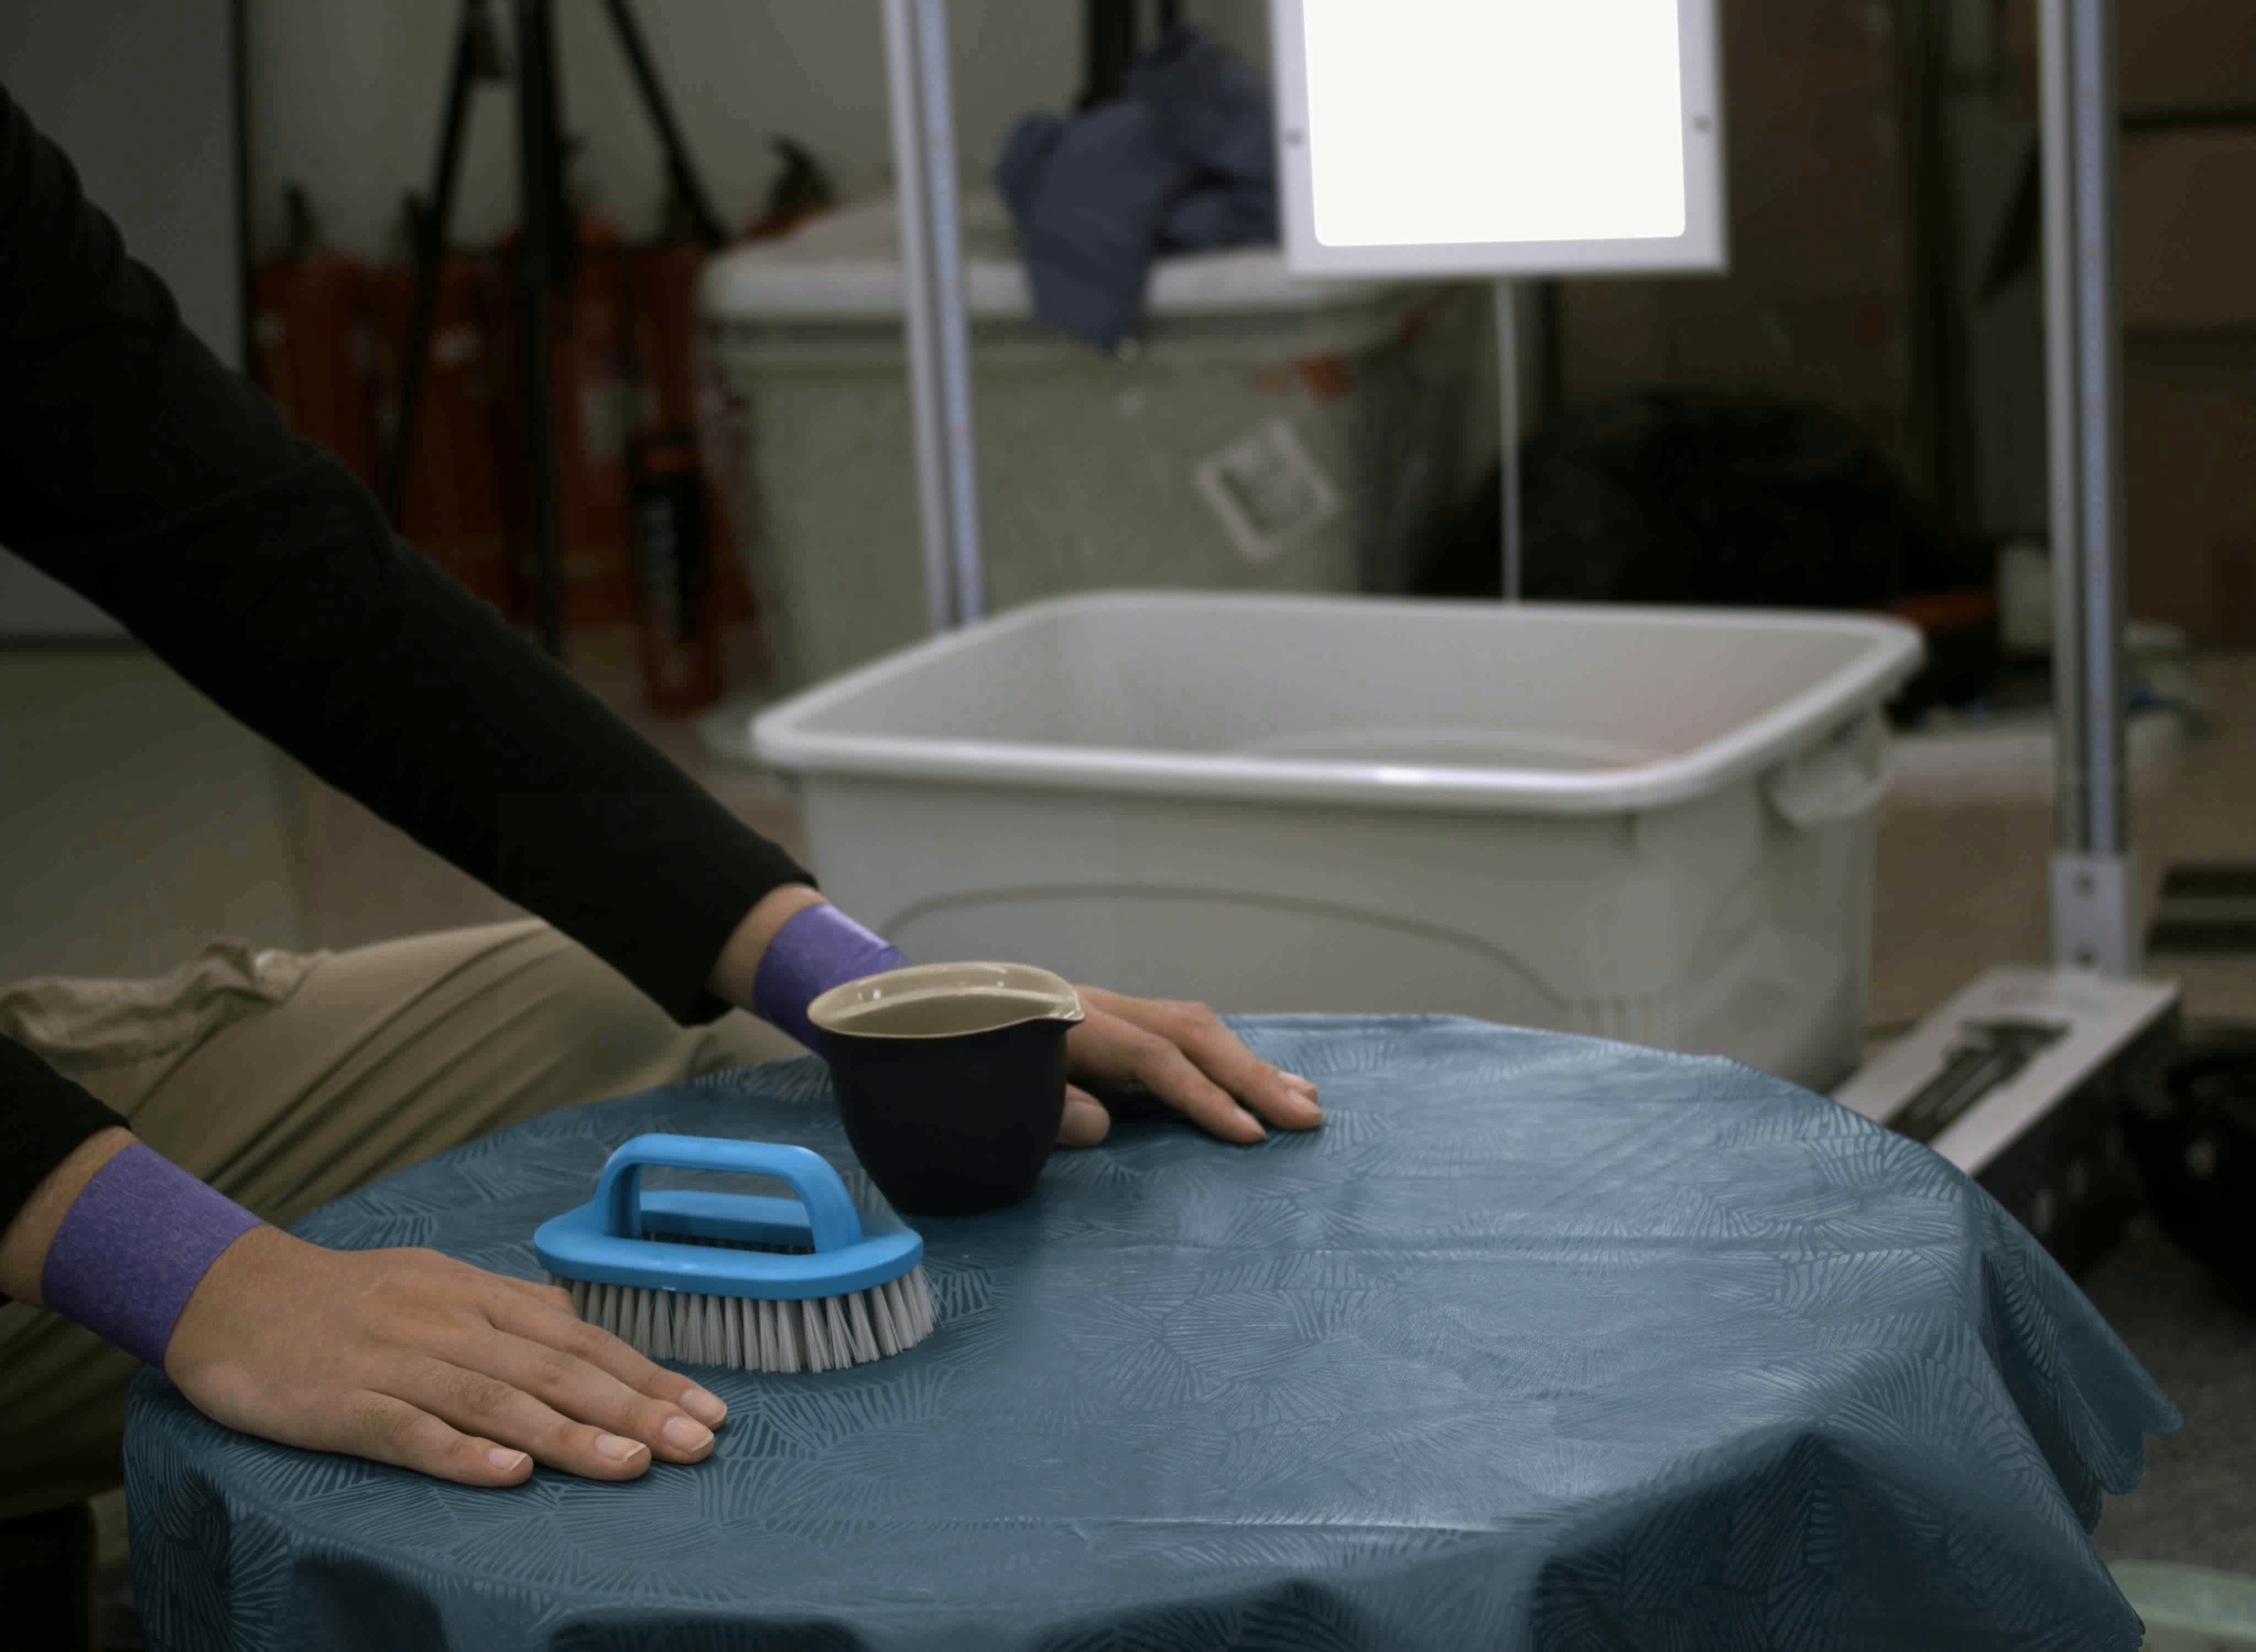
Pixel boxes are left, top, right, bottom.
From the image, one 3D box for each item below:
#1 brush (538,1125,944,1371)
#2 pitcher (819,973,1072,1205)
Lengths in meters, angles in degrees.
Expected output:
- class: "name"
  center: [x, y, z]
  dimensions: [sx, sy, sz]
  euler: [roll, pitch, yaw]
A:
- class: "brush"
  center: [-0.130, 0.130, 1.791]
  dimensions: [0.144, 0.064, 0.082]
  euler: [2, 20, 32]
- class: "pitcher"
  center: [-0.059, 0.091, 1.905]
  dimensions: [0.098, 0.071, 0.081]
  euler: [7, 17, 35]
